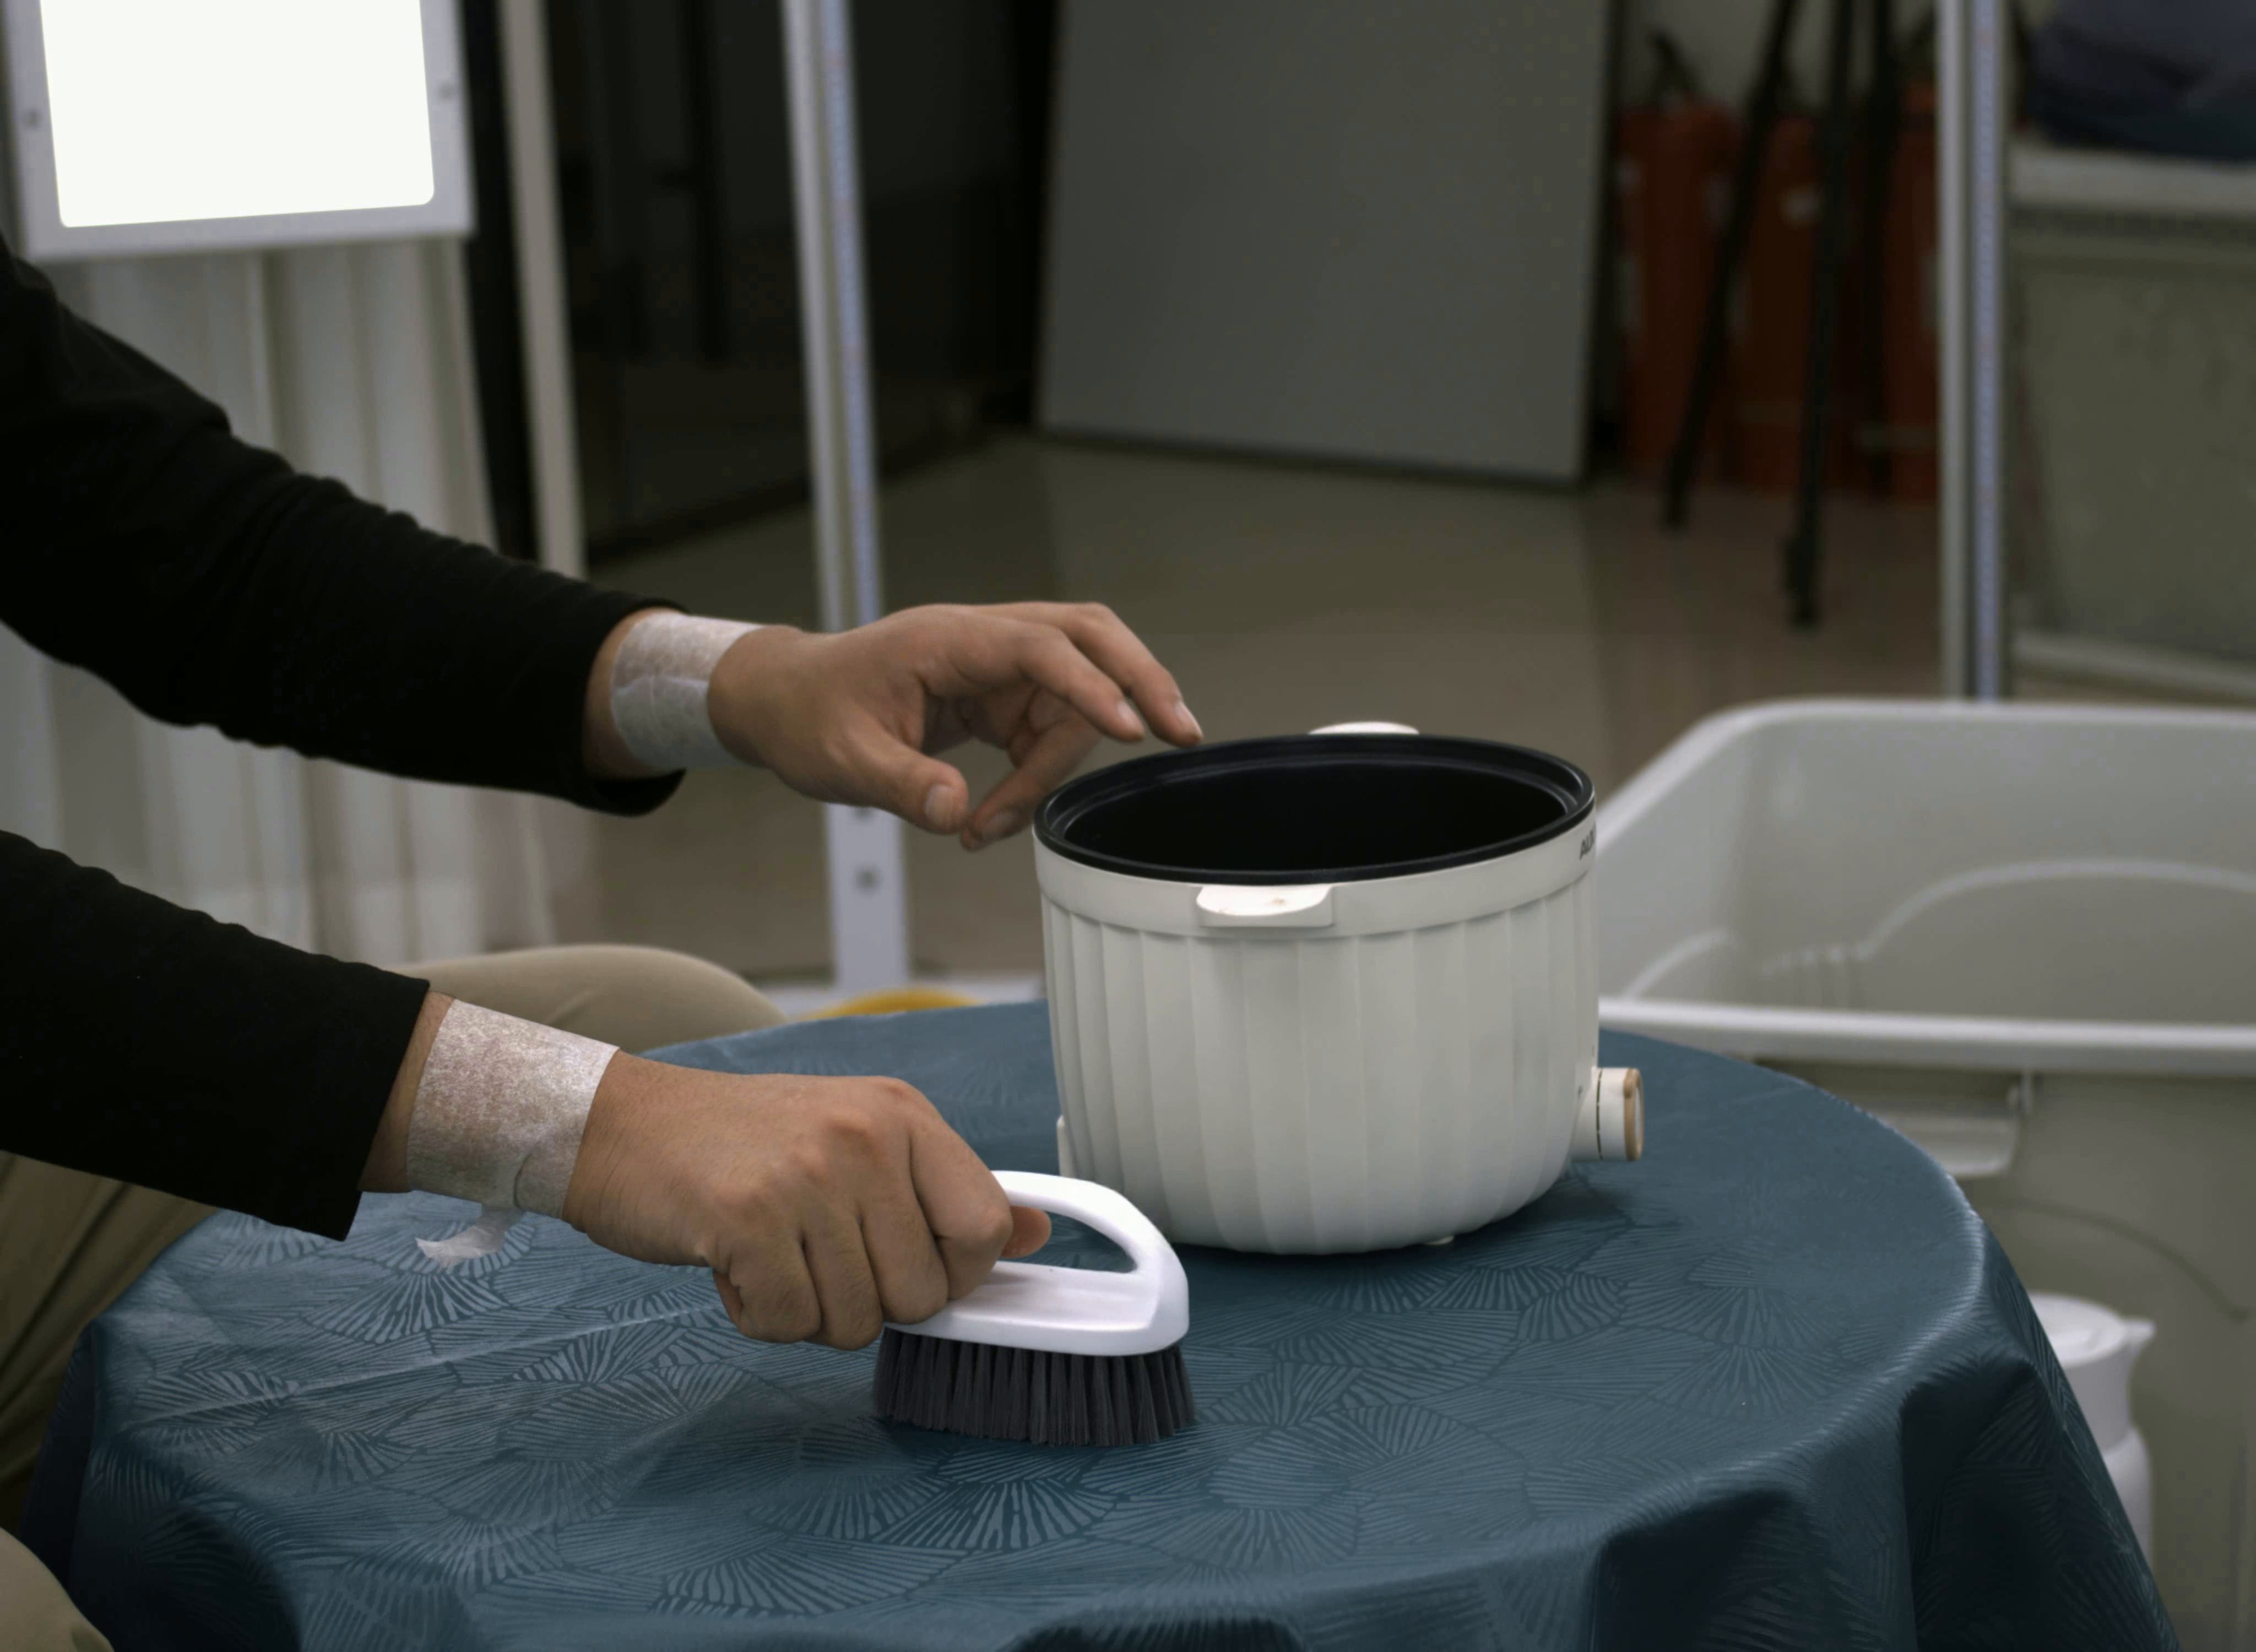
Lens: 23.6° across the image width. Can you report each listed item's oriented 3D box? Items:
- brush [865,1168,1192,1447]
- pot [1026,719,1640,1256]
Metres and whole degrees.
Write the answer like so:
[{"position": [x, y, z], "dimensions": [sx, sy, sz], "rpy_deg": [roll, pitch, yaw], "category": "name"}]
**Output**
[{"position": [-0.030, 0.136, 1.564], "dimensions": [0.099, 0.073, 0.049], "rpy_deg": [3, 15, 25], "category": "brush"}, {"position": [0.067, 0.054, 1.731], "dimensions": [0.189, 0.144, 0.239], "rpy_deg": [-4, 15, 12], "category": "pot"}]
